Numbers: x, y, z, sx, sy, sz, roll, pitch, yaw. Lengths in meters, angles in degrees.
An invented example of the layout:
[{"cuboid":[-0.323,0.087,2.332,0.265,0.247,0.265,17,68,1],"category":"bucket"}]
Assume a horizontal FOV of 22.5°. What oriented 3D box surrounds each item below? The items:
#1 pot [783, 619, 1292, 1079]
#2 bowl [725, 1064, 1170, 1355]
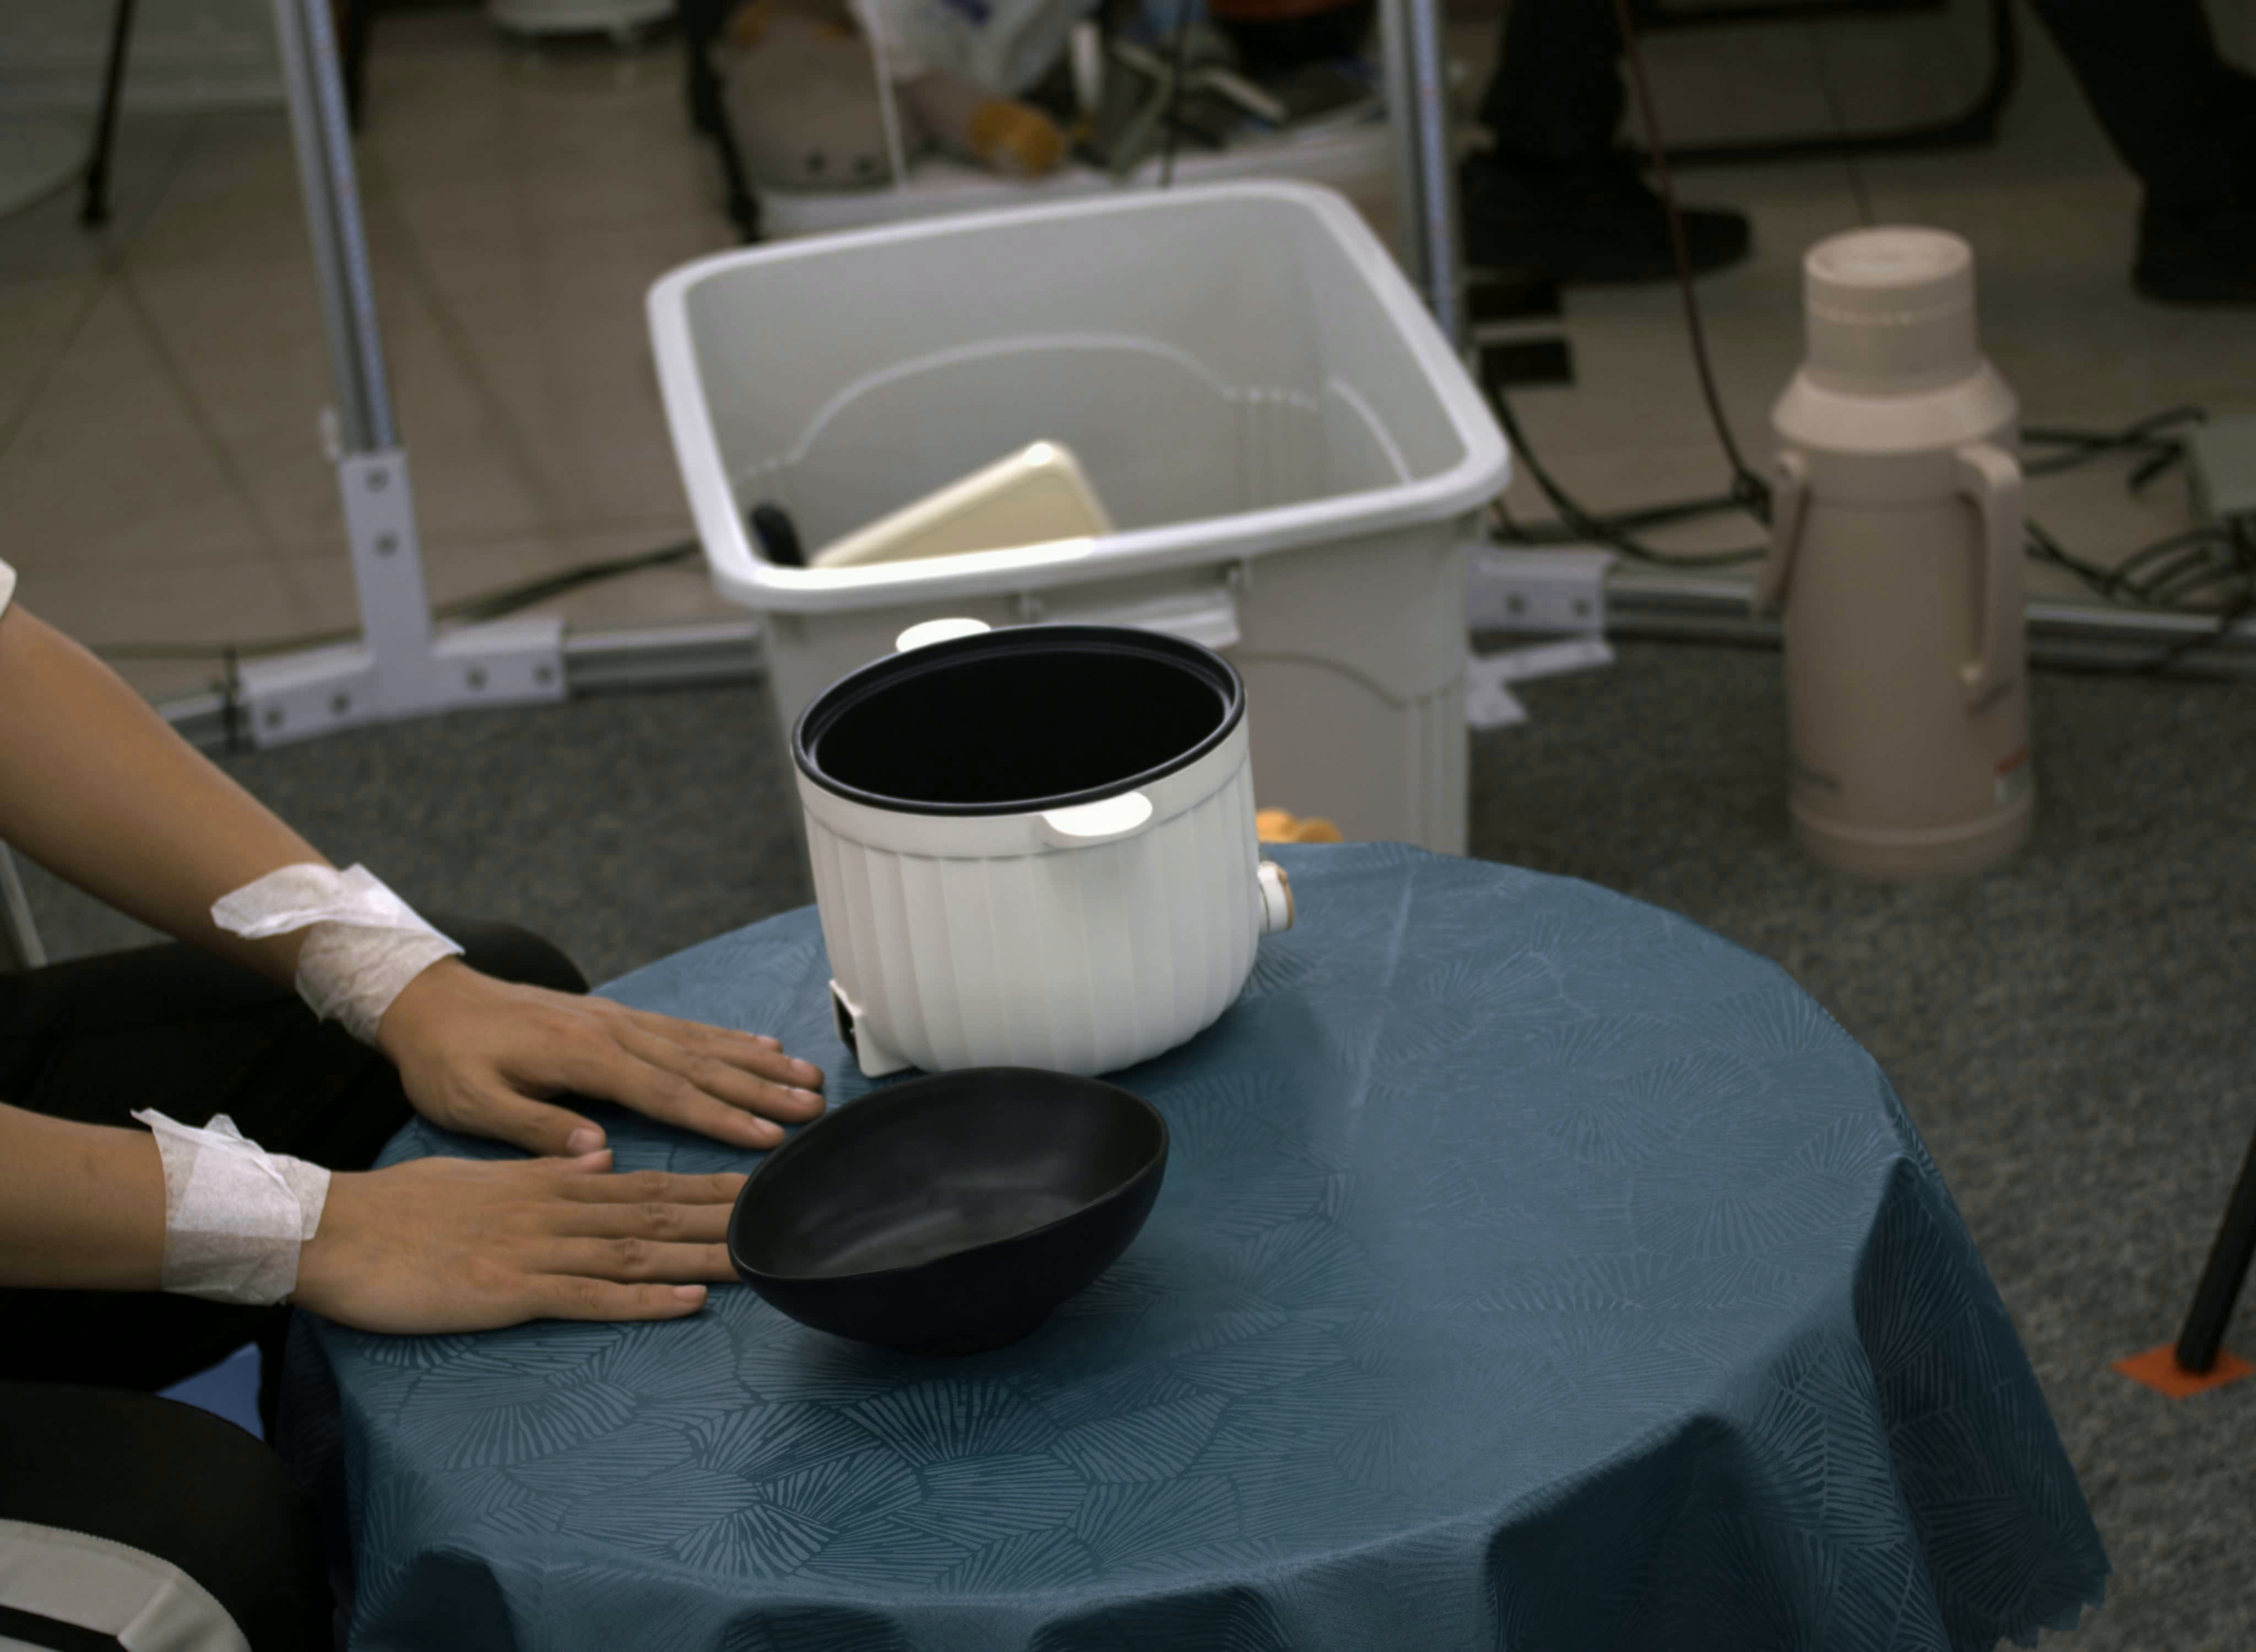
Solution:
[{"cuboid":[-0.033,0.012,2.264,0.190,0.145,0.237,-17,28,-14],"category":"pot"},{"cuboid":[-0.062,0.149,2.068,0.169,0.068,0.136,-19,27,-24],"category":"bowl"}]
